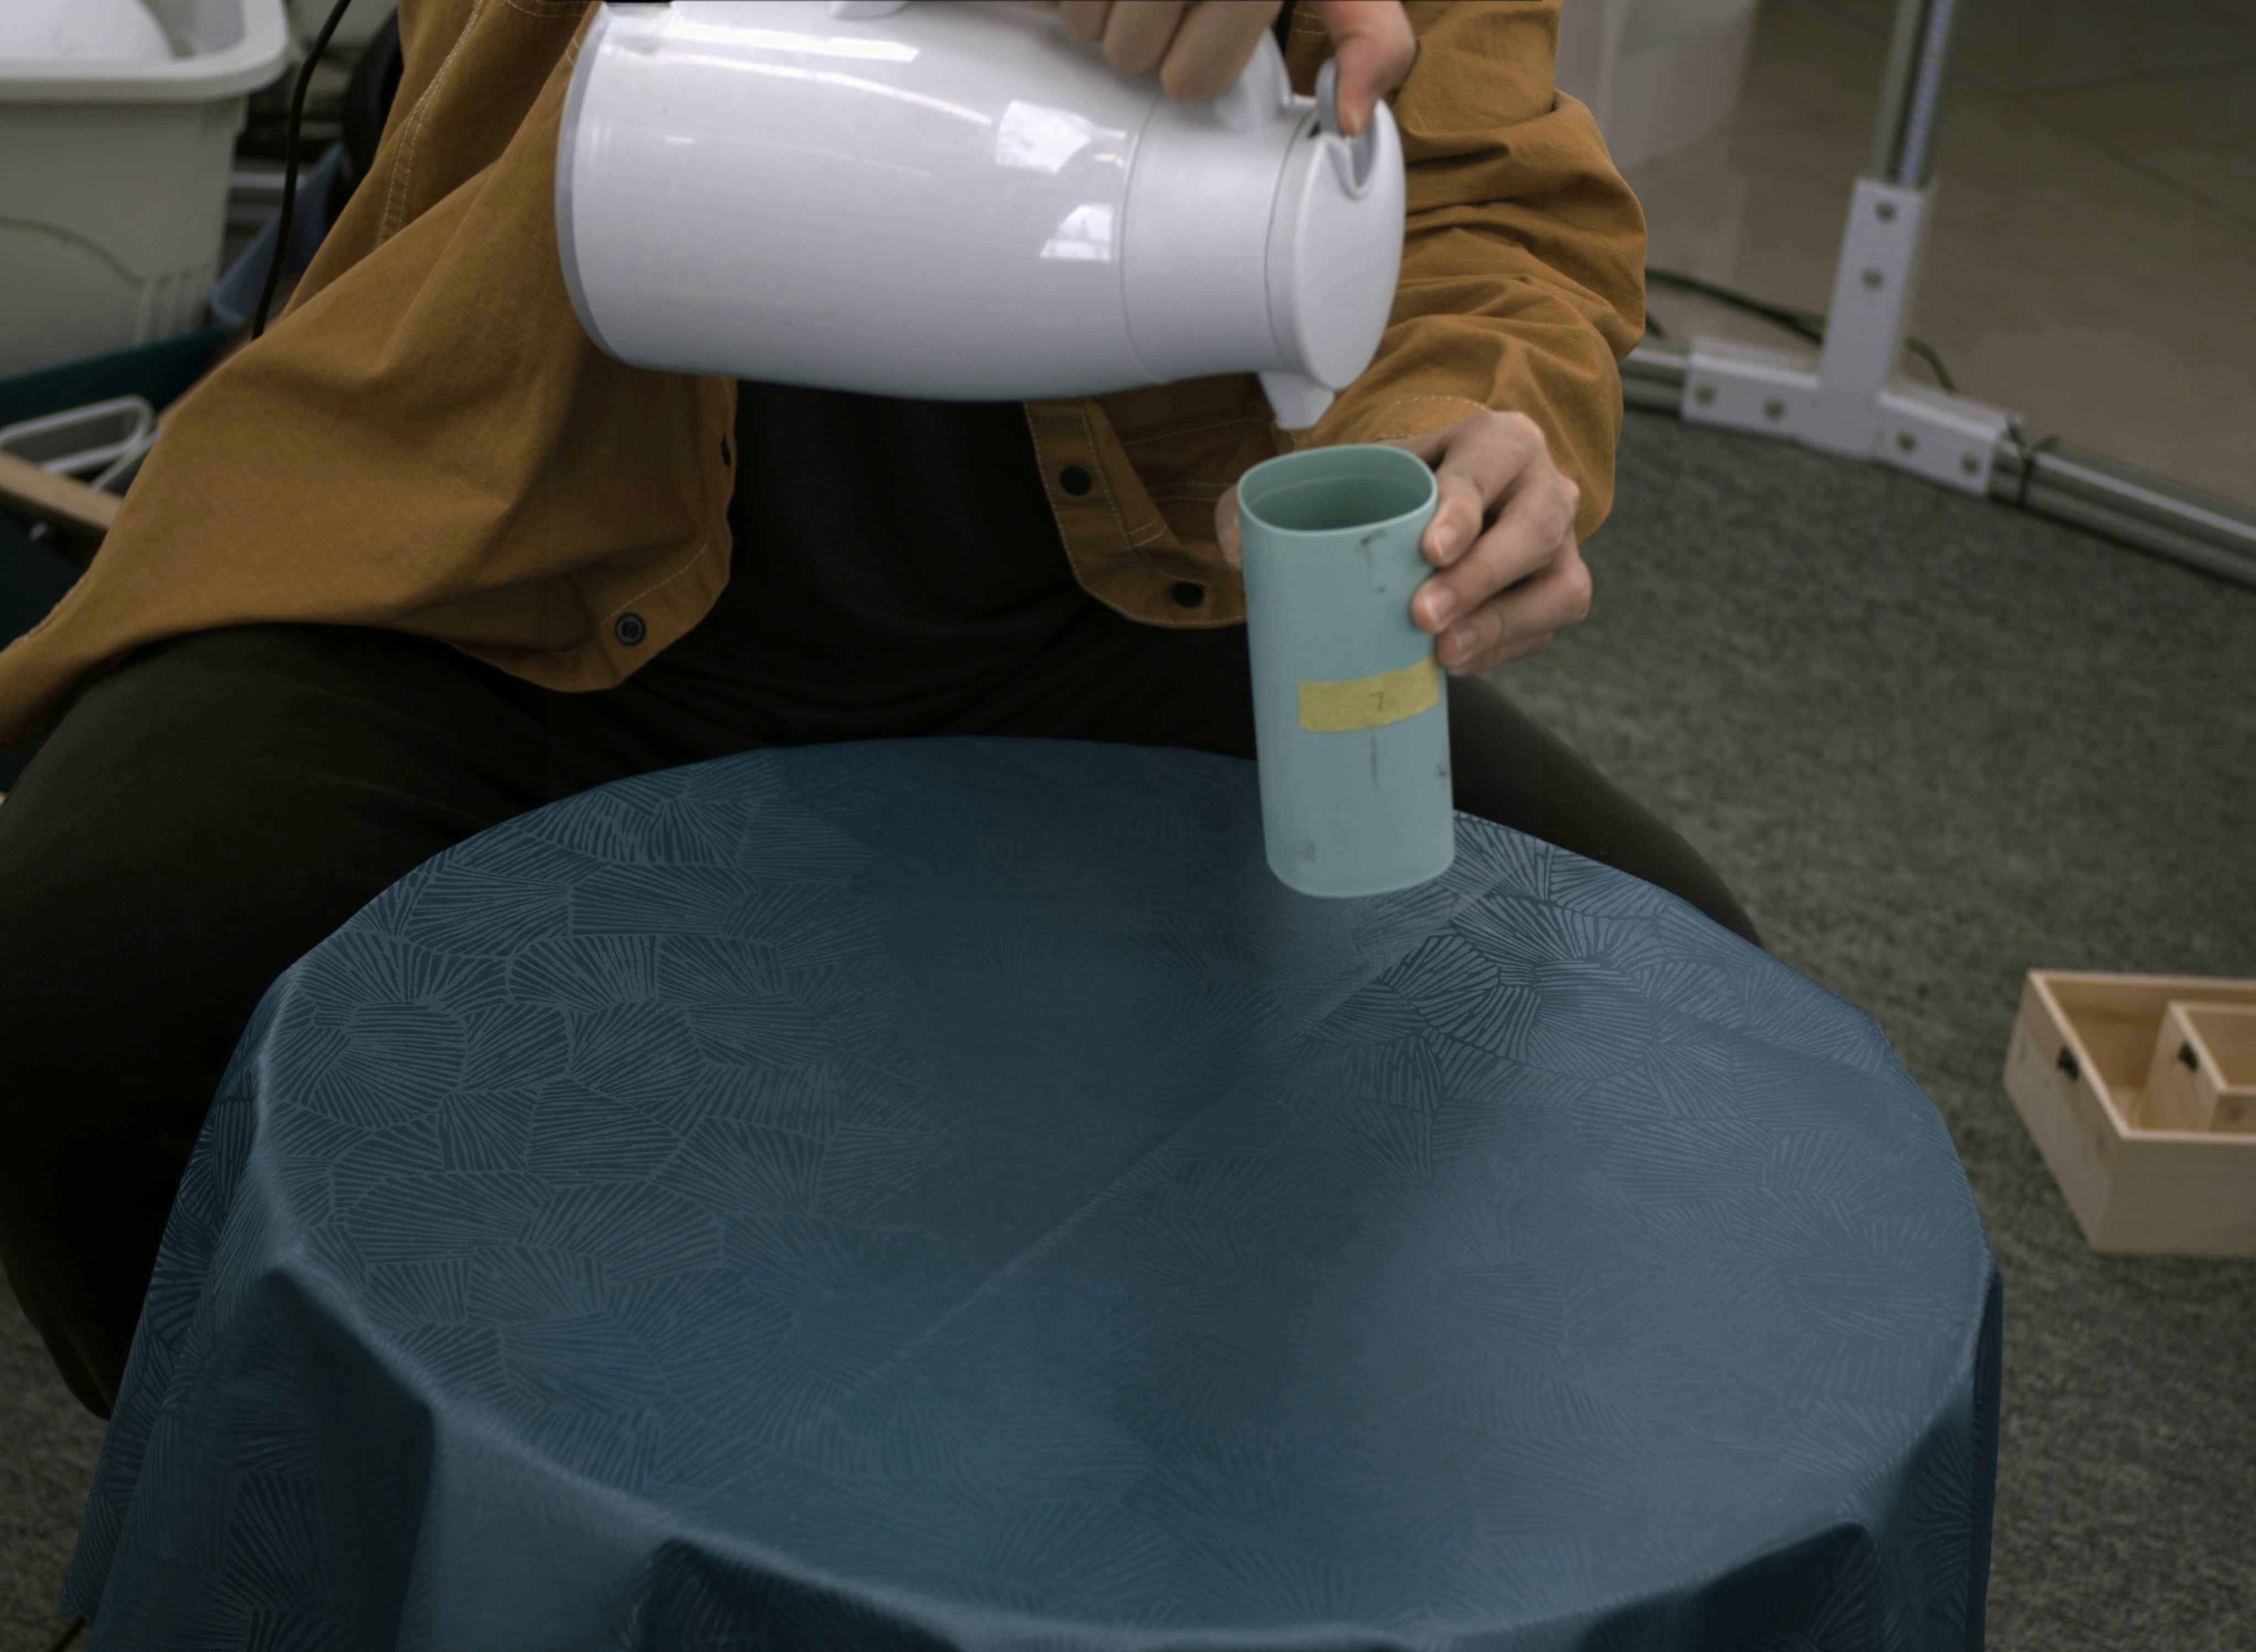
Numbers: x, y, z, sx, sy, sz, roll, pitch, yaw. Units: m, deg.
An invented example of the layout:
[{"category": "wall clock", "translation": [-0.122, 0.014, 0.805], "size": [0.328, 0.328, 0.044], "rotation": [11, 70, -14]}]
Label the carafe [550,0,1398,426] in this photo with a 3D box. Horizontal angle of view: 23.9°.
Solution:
[{"category": "carafe", "translation": [-0.043, -0.211, 1.648], "size": [0.249, 0.167, 0.133], "rotation": [9, 36, 23]}]

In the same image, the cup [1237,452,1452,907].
[{"category": "cup", "translation": [0.069, -0.047, 1.693], "size": [0.066, 0.132, 0.067], "rotation": [-4, 28, 2]}]
